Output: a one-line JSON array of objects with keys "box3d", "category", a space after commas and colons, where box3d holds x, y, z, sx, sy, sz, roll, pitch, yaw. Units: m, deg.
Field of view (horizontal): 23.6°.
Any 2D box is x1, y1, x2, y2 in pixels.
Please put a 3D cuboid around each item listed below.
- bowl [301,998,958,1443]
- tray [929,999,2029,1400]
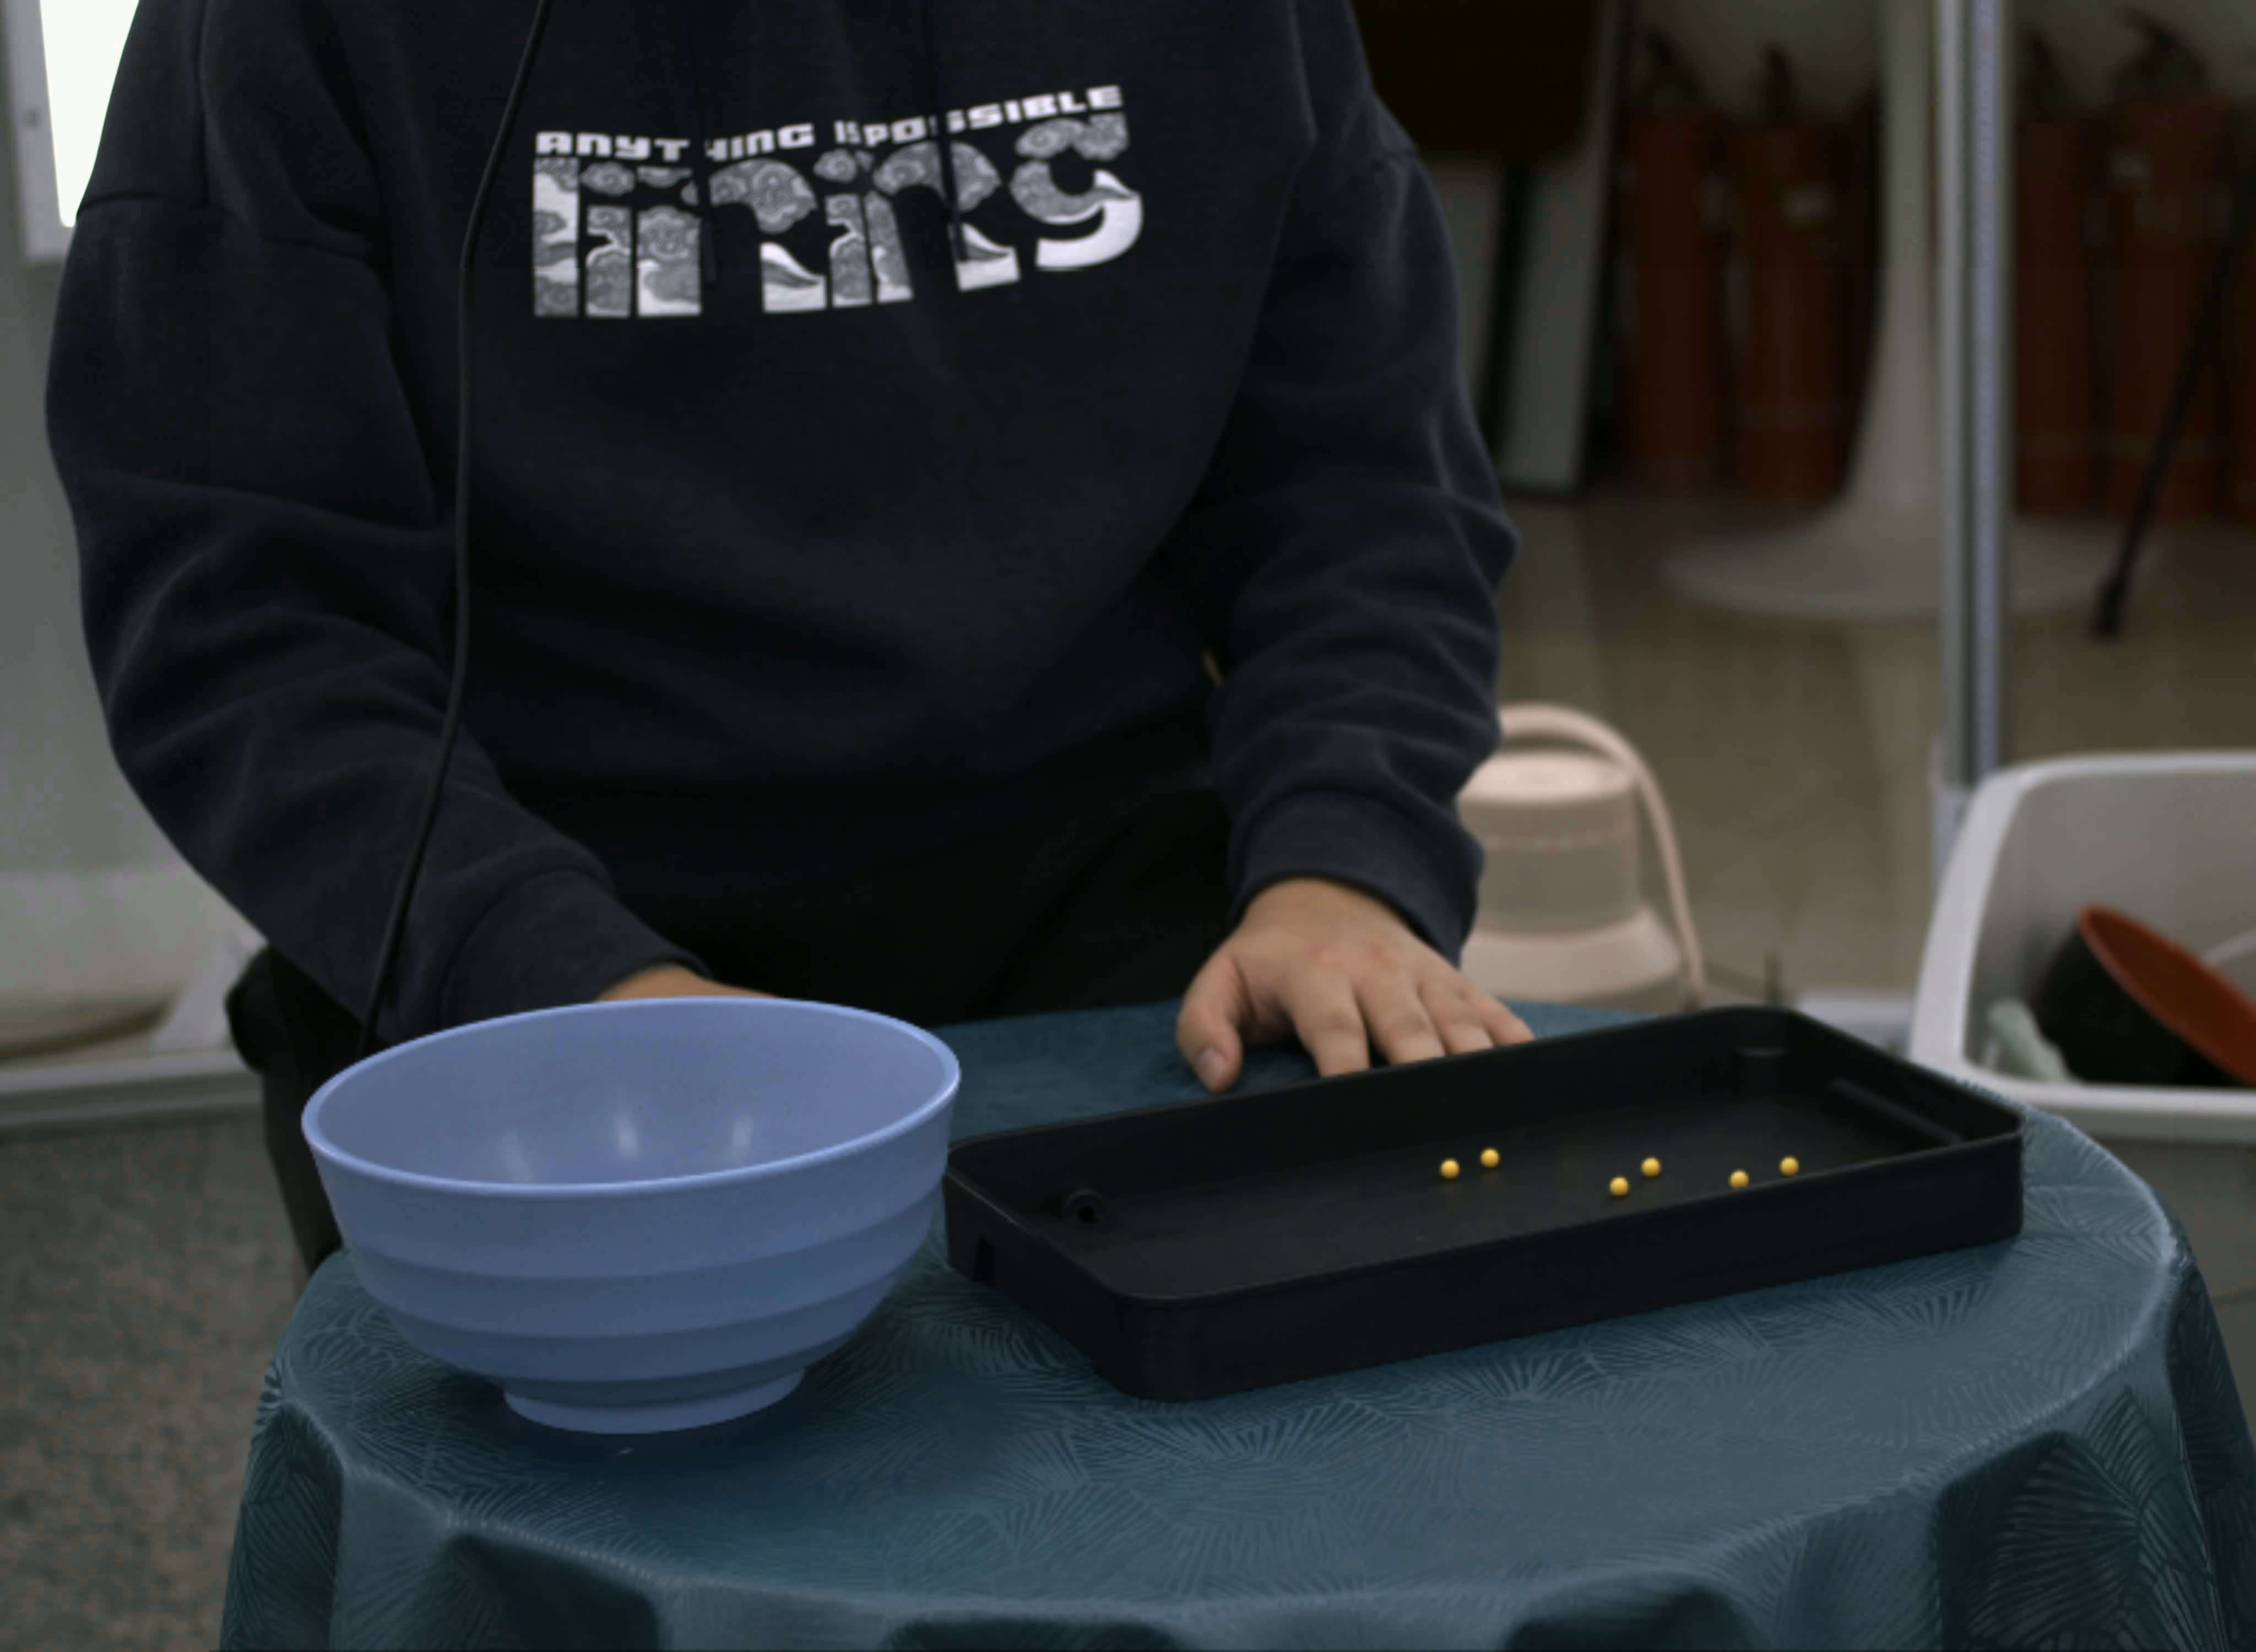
[{"box3d": [-0.143, 0.123, 1.609, 0.194, 0.096, 0.197, -5, 14, 0], "category": "bowl"}, {"box3d": [0.110, 0.113, 1.696, 0.311, 0.037, 0.186, -9, 14, -20], "category": "tray"}]
